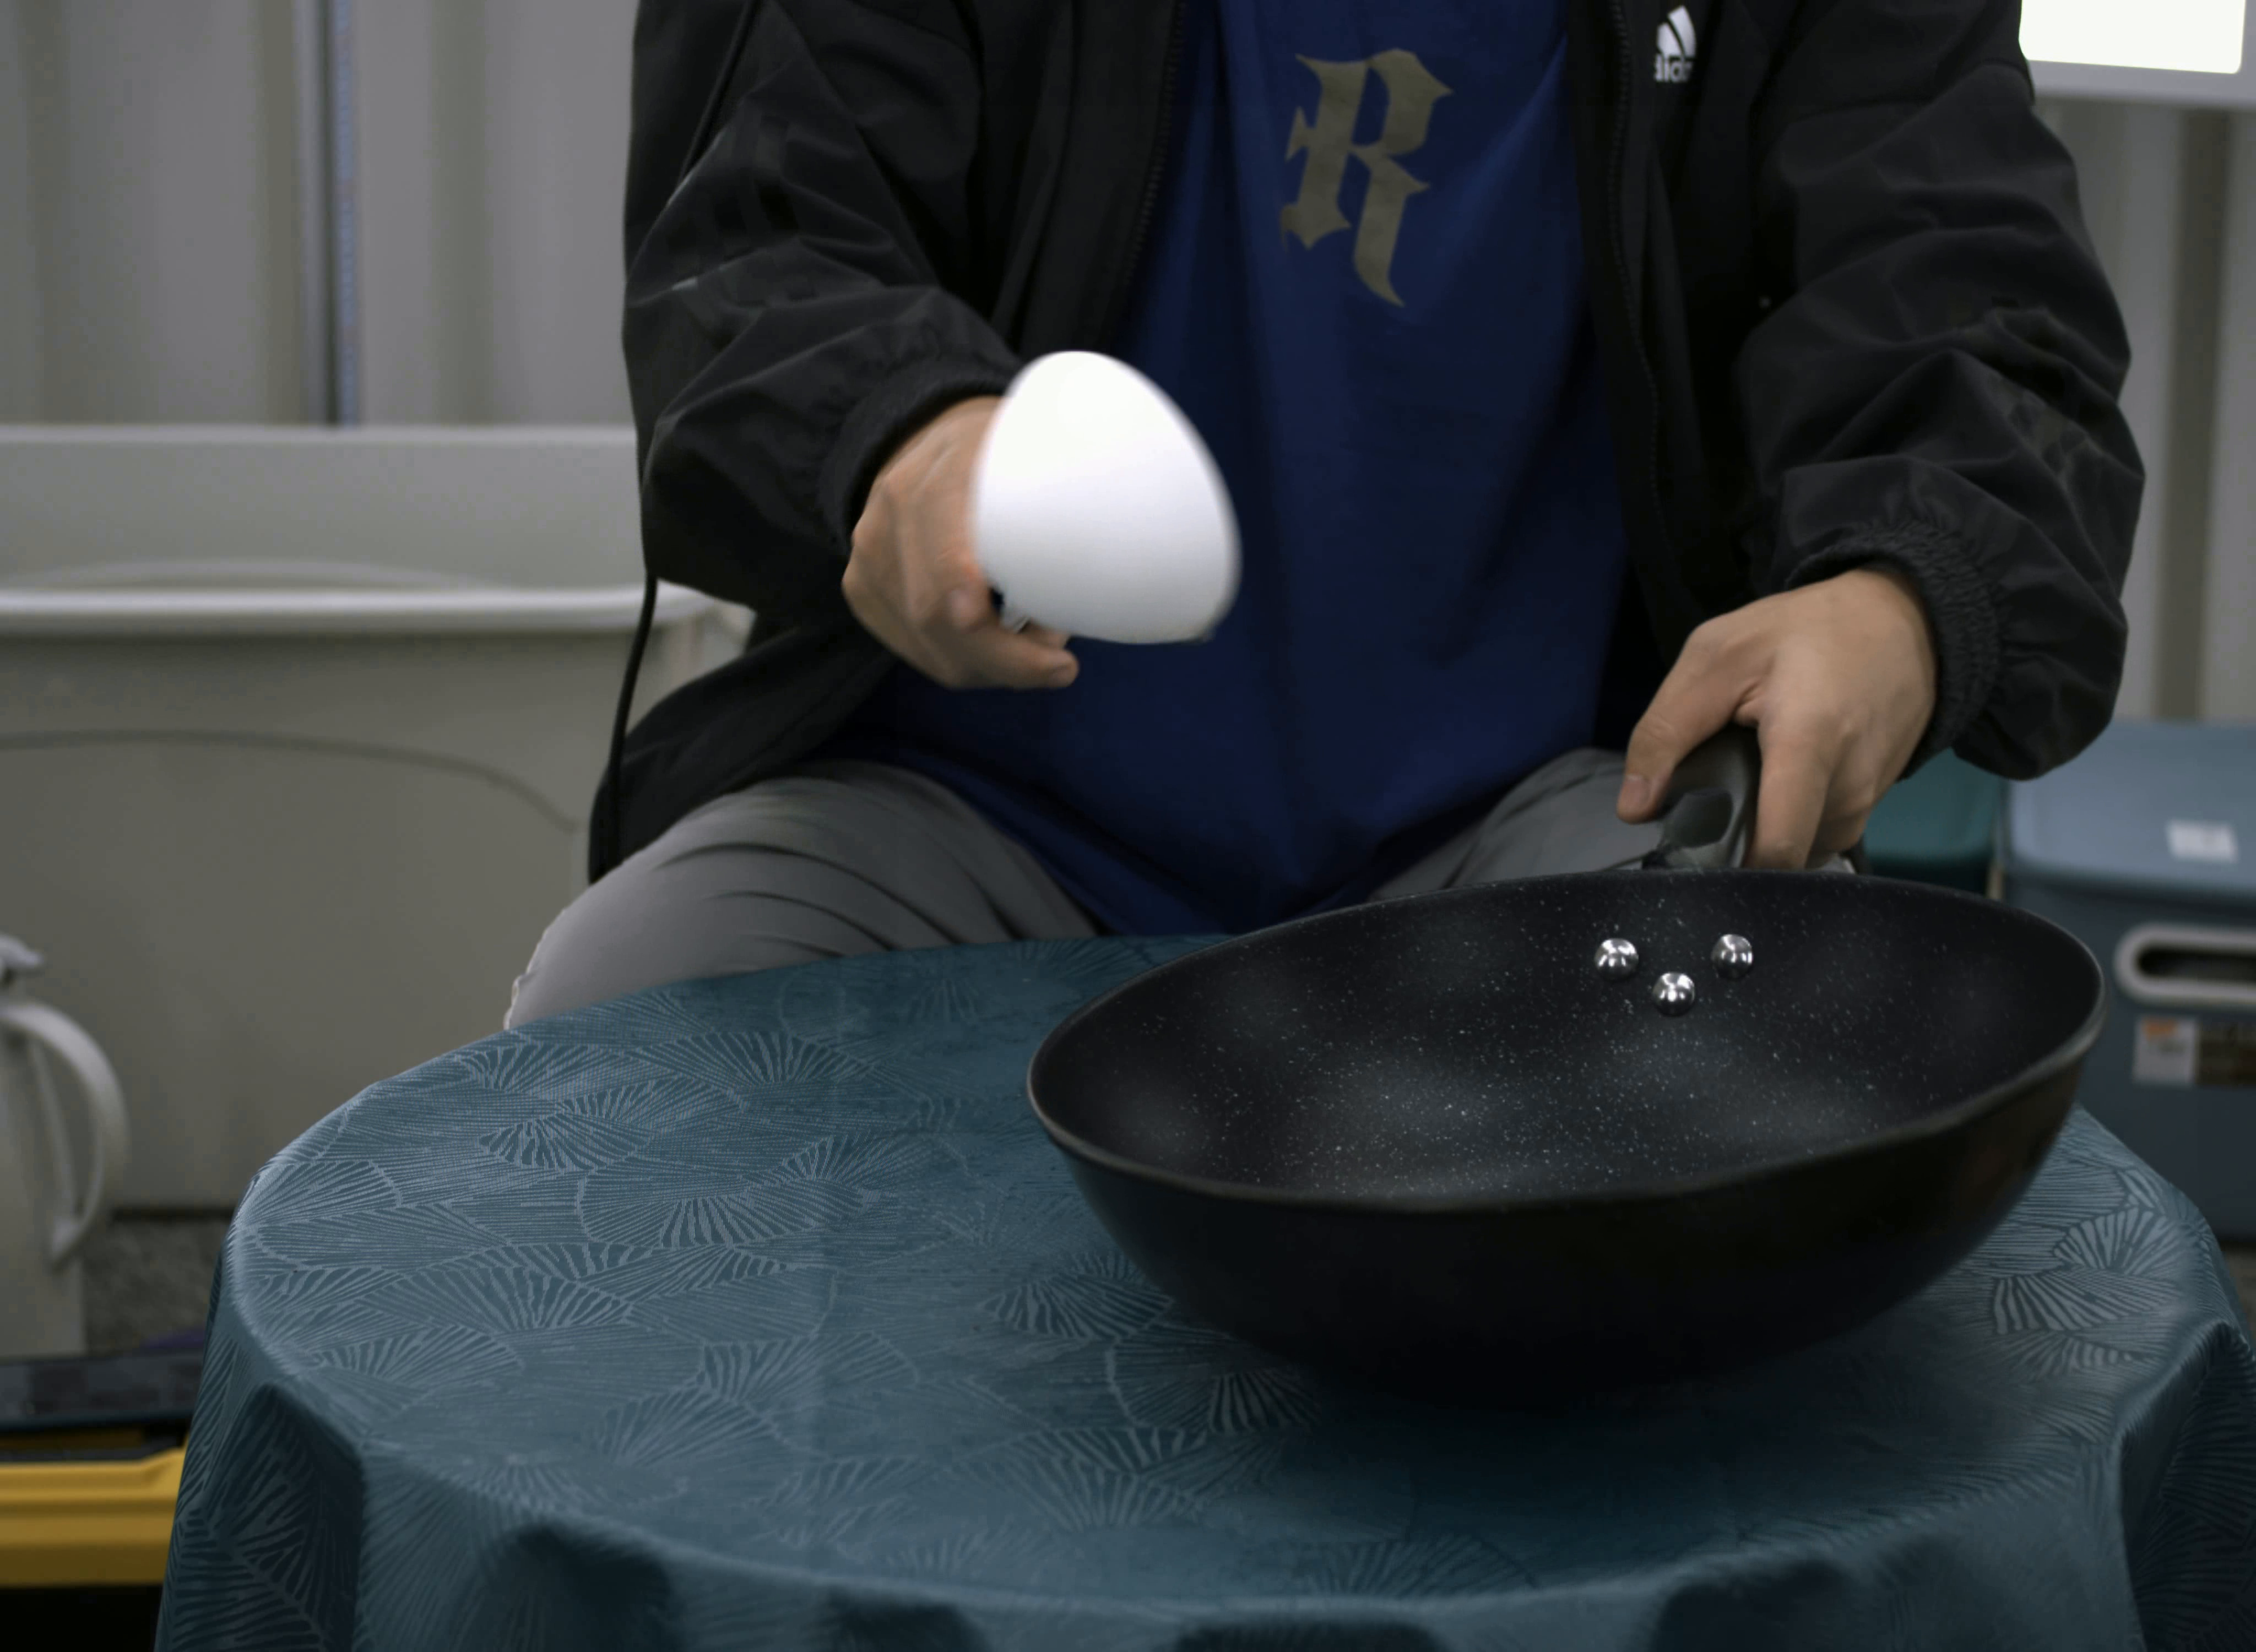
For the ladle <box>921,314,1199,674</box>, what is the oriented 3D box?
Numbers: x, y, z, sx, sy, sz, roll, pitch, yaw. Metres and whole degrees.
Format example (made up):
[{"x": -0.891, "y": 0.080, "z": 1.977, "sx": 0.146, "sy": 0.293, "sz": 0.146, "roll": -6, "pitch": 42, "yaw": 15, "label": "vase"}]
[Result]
[{"x": -0.030, "y": -0.089, "z": 1.604, "sx": 0.070, "sy": 0.090, "sz": 0.293, "roll": -40, "pitch": -1, "yaw": -6, "label": "ladle"}]

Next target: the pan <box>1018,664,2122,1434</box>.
[{"x": 0.150, "y": 0.066, "z": 1.567, "sx": 0.307, "sy": 0.112, "sz": 0.476, "roll": 1, "pitch": 17, "yaw": 17, "label": "pan"}]
